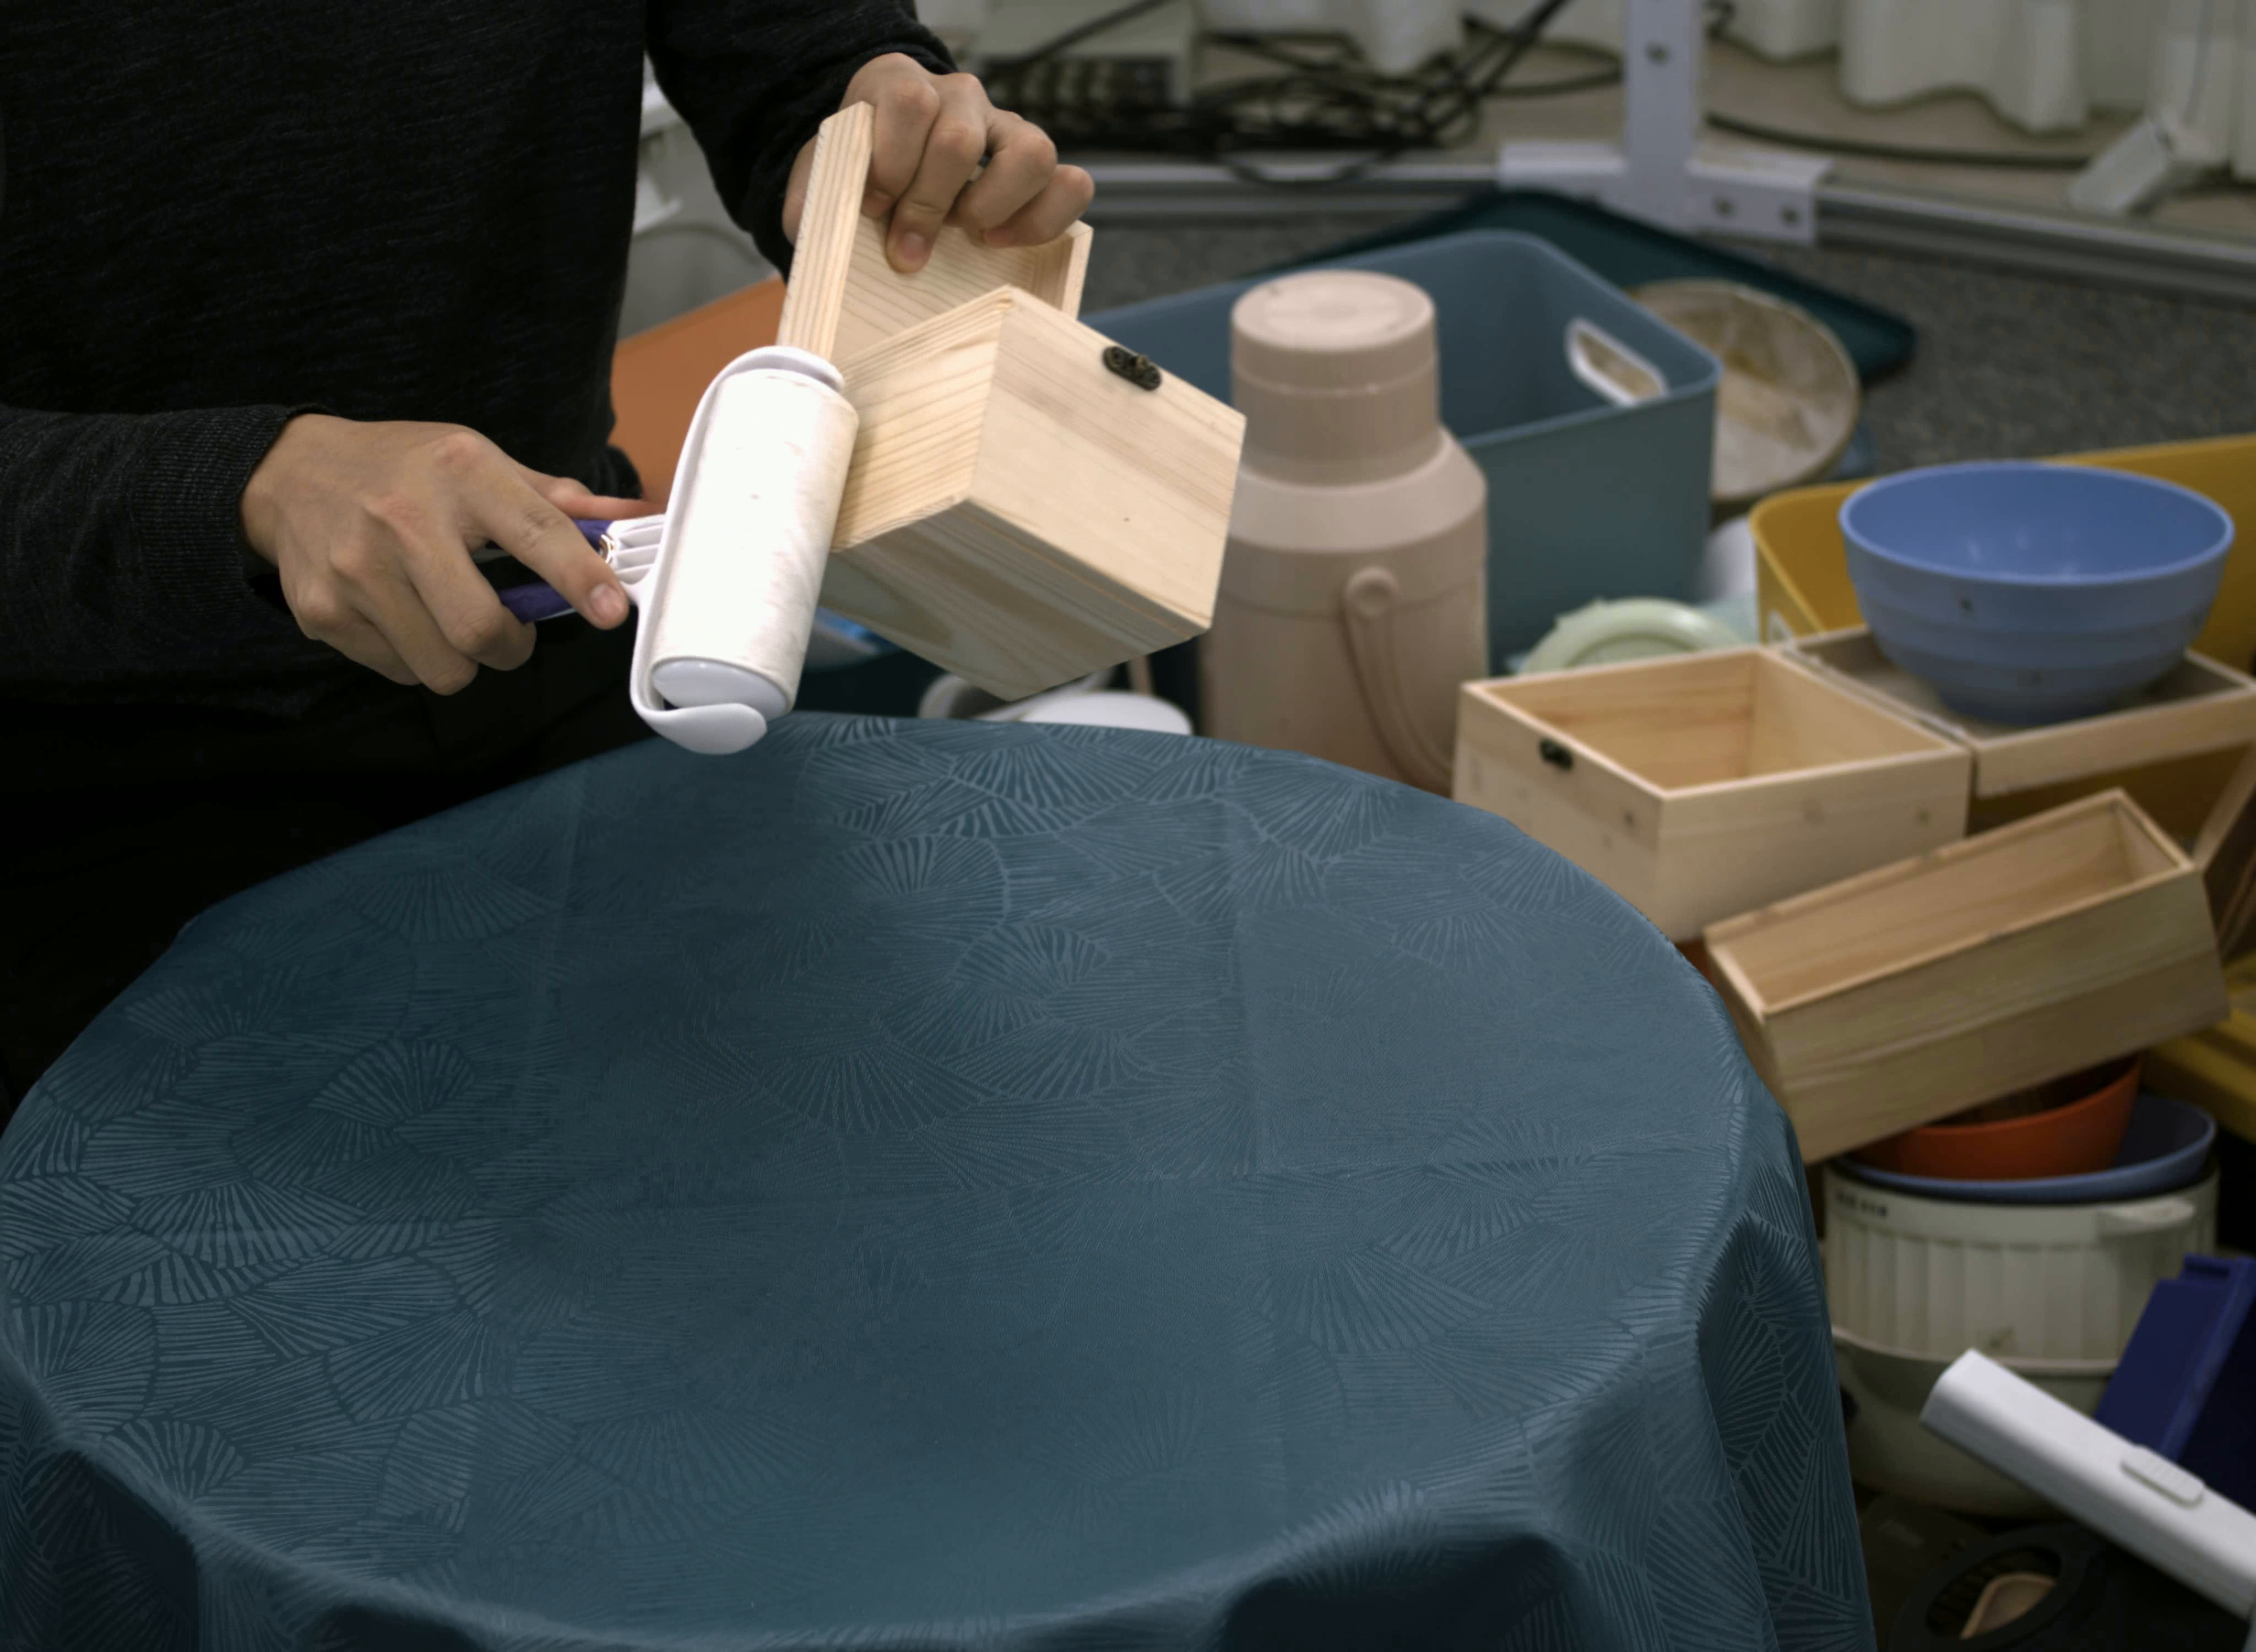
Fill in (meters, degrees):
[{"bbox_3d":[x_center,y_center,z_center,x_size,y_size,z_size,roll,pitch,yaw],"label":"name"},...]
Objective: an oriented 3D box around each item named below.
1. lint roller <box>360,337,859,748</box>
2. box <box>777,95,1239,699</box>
[{"bbox_3d":[-0.174,-0.090,1.776,0.179,0.050,0.135,2,65,26],"label":"lint roller"},{"bbox_3d":[-0.037,-0.151,1.818,0.132,0.102,0.188,-20,51,46],"label":"box"}]
